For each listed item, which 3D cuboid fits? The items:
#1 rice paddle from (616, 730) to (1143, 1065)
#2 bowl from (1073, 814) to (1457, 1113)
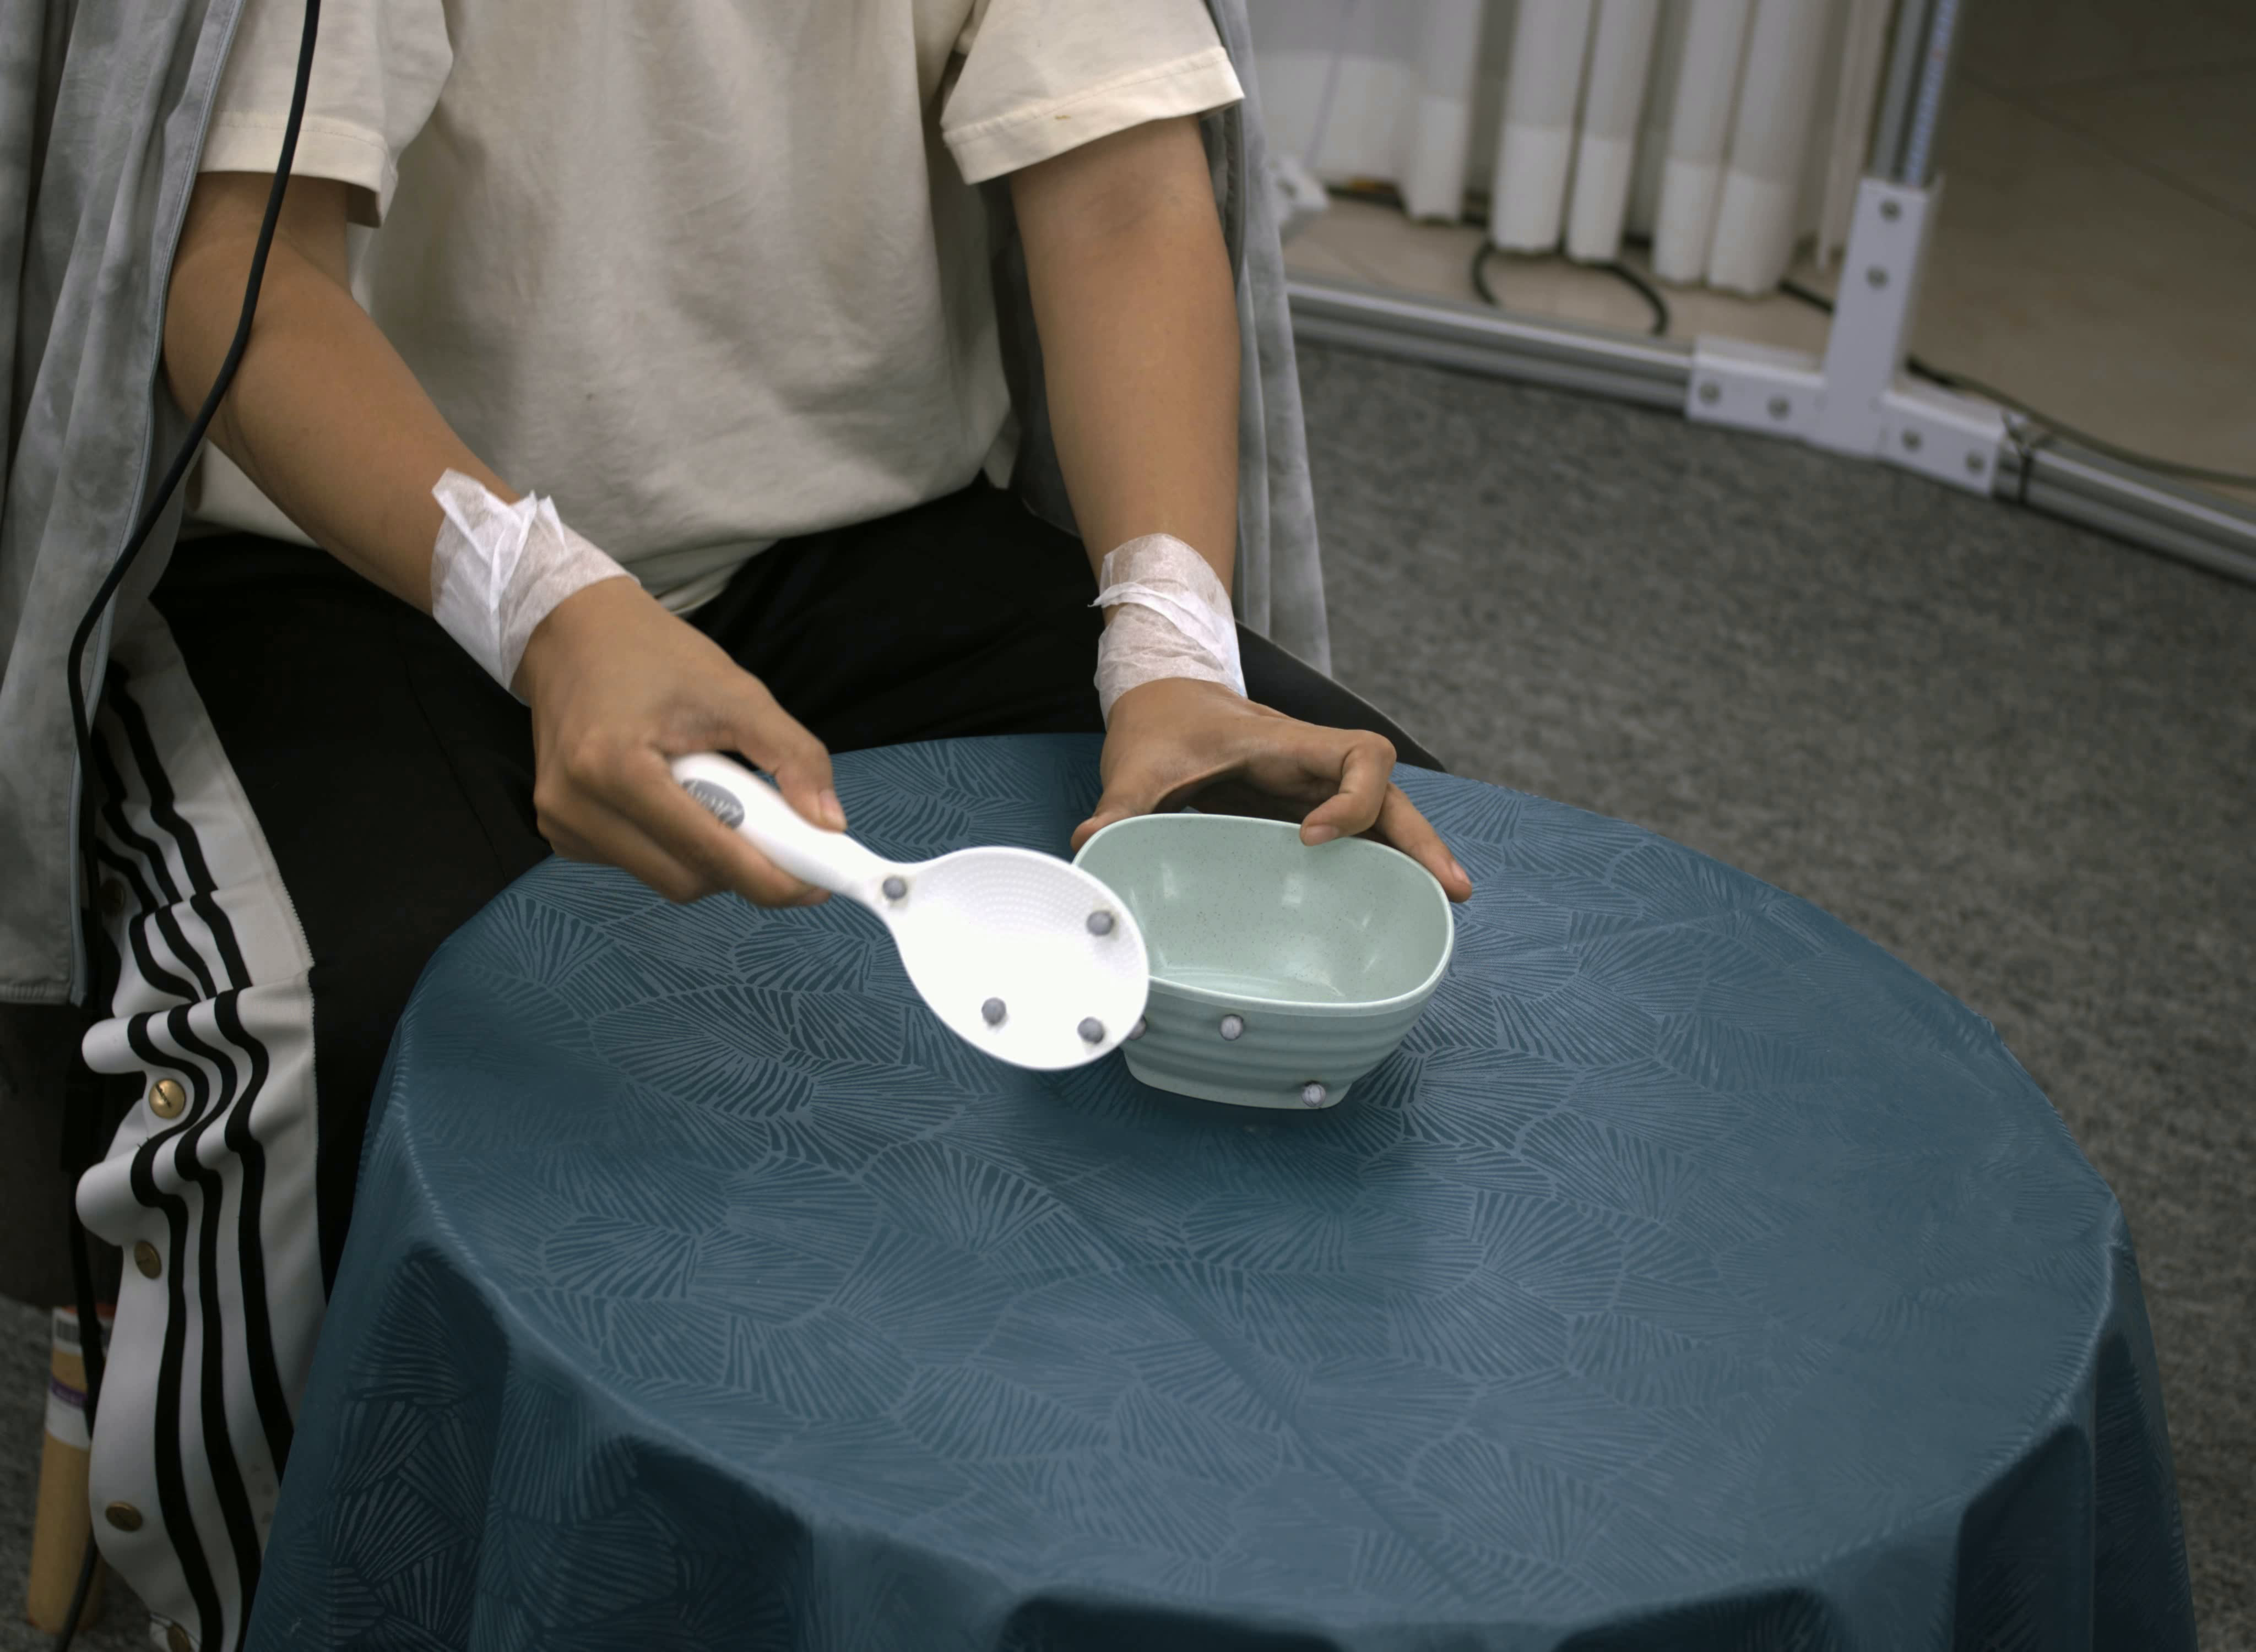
[{"bbox_3d":[-0.083,0.020,1.783,0.206,0.069,0.029,25,8,25],"label":"rice paddle"},{"bbox_3d":[0.045,0.055,1.890,0.151,0.058,0.152,4,28,-3],"label":"bowl"}]
